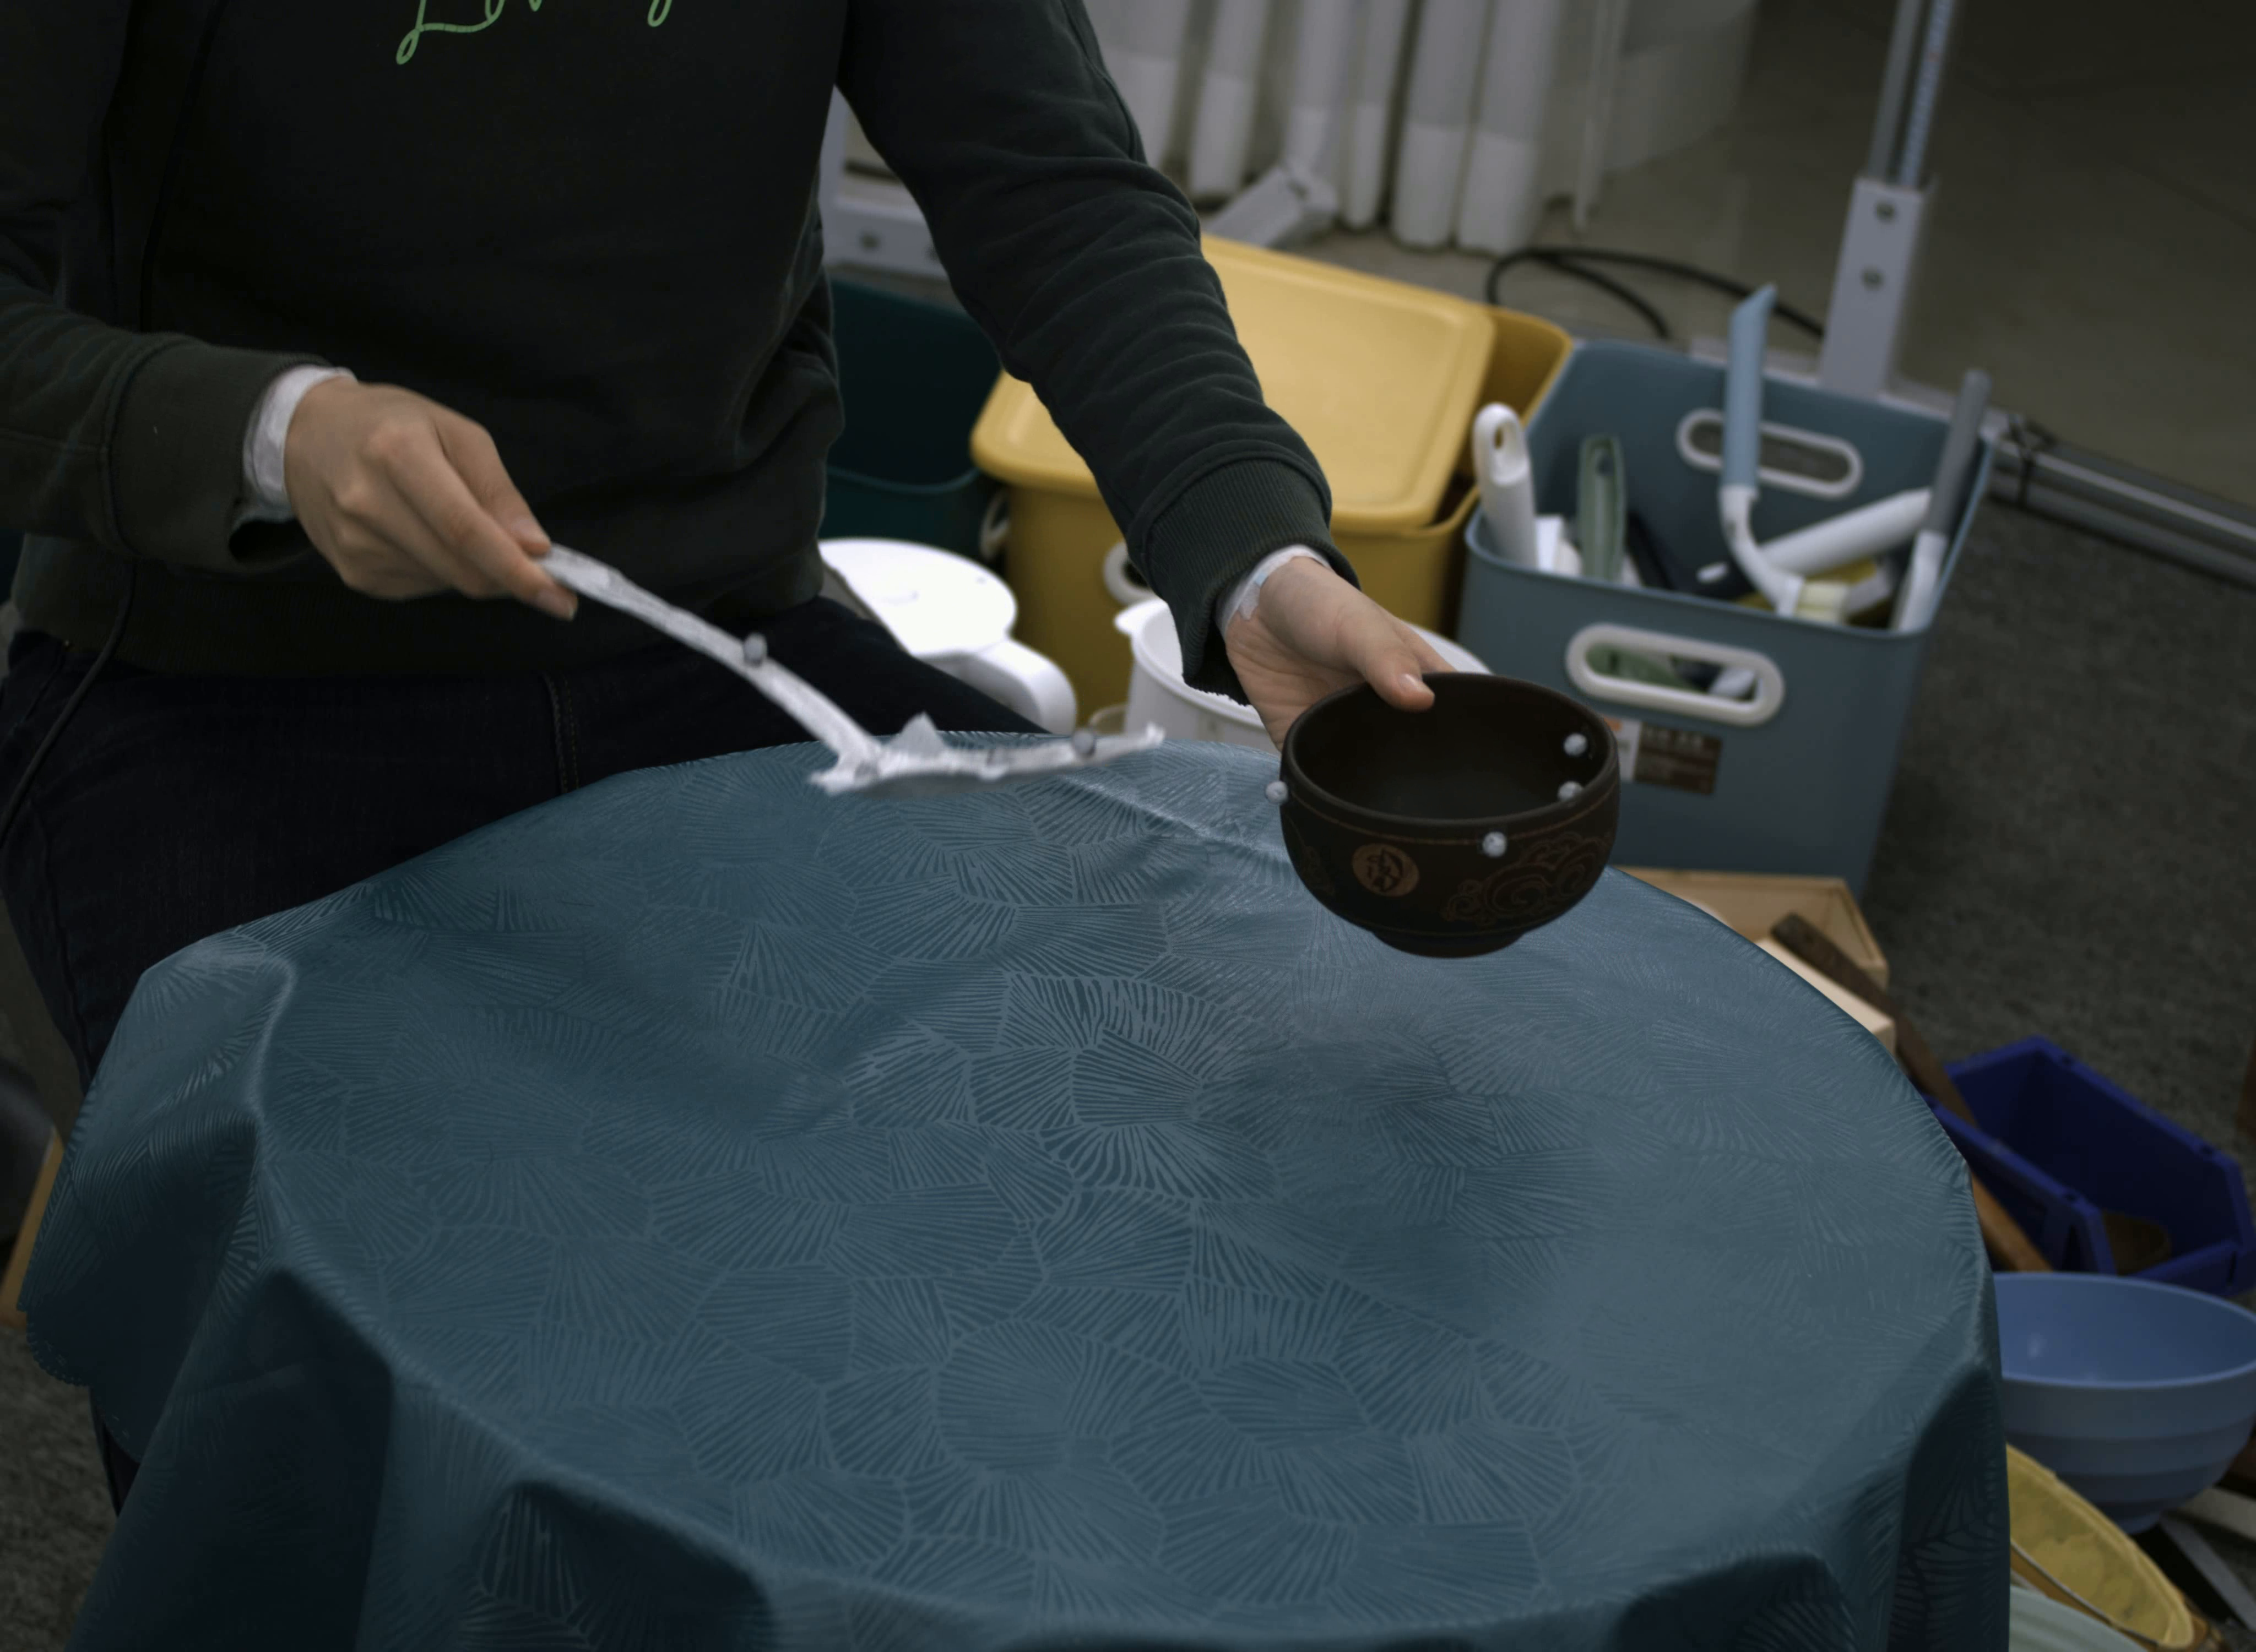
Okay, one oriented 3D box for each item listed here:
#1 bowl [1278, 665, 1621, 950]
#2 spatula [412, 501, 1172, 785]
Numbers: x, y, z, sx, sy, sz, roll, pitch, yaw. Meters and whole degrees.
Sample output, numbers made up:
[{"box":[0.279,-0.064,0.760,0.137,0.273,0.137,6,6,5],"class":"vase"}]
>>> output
[{"box":[0.110,0.000,1.834,0.118,0.069,0.119,-1,26,0],"class":"bowl"},{"box":[-0.133,-0.069,1.745,0.098,0.044,0.368,-12,27,-40],"class":"spatula"}]
